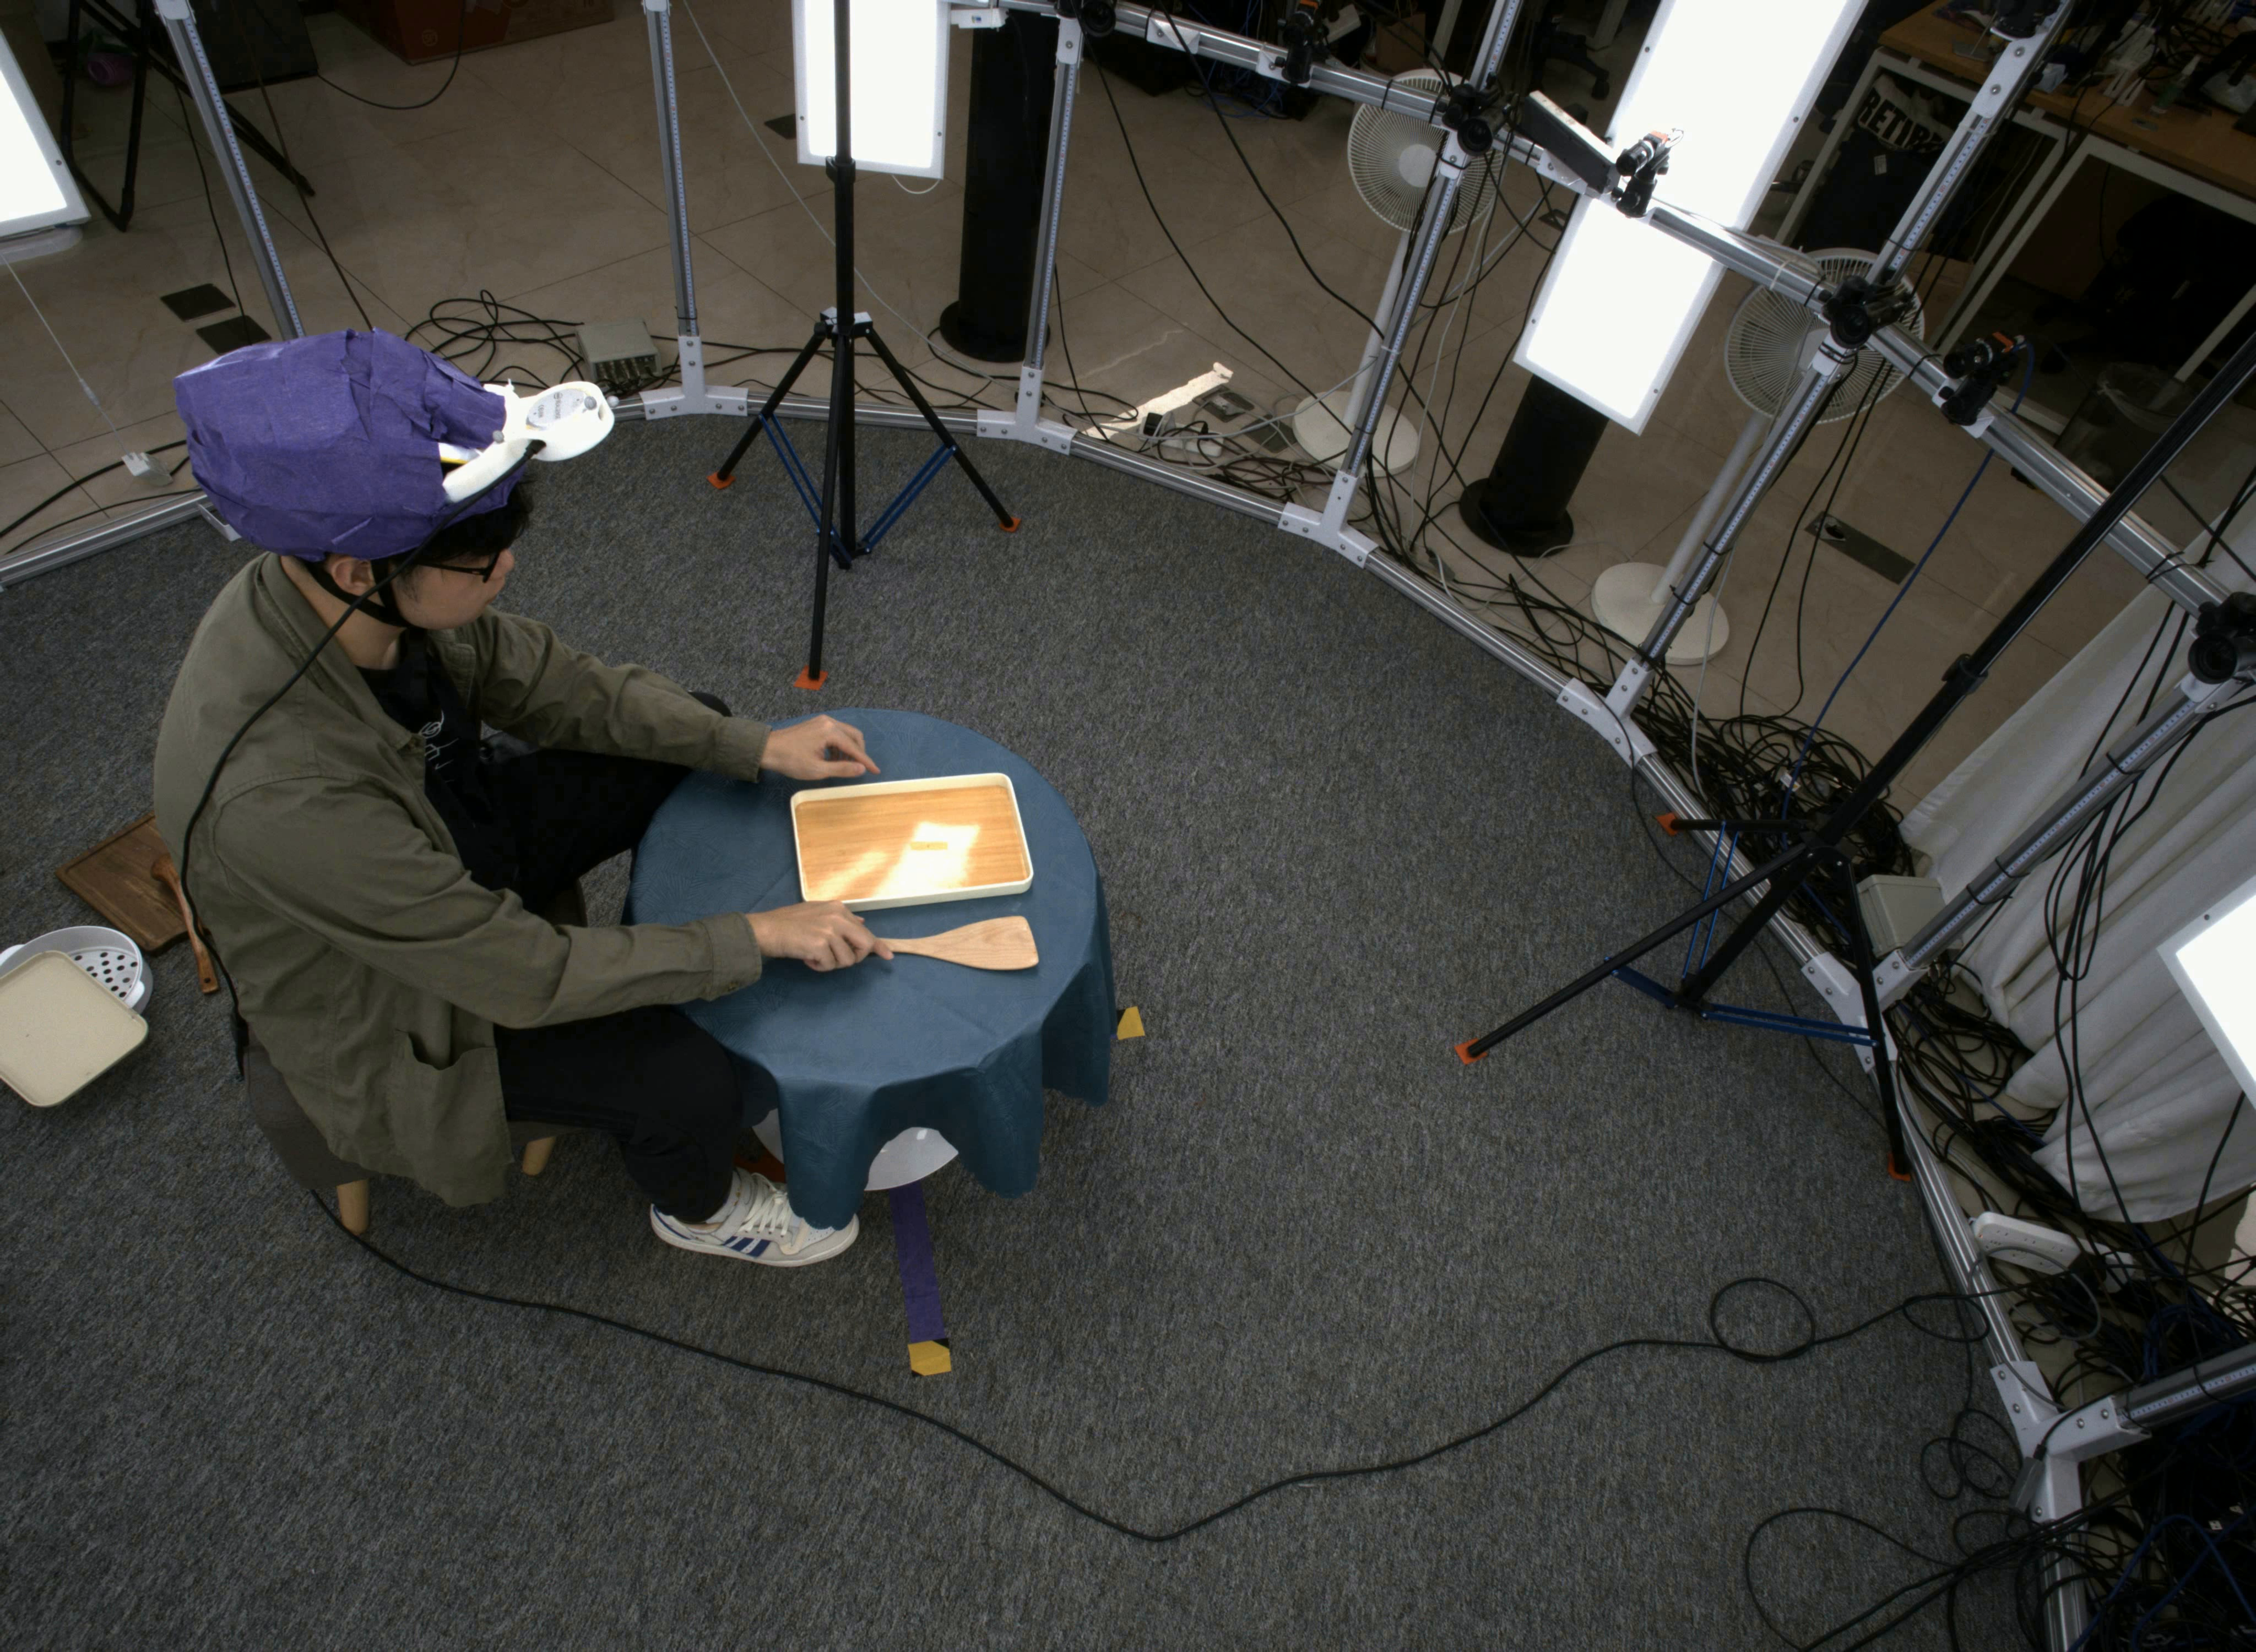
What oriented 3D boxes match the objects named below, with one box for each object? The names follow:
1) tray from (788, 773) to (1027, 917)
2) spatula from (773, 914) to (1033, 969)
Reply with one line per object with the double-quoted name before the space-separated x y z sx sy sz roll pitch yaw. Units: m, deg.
"tray" -0.295 0.021 1.738 0.301 0.028 0.187 -6 55 -16
"spatula" -0.285 0.148 1.654 0.328 0.017 0.078 0 54 -14
